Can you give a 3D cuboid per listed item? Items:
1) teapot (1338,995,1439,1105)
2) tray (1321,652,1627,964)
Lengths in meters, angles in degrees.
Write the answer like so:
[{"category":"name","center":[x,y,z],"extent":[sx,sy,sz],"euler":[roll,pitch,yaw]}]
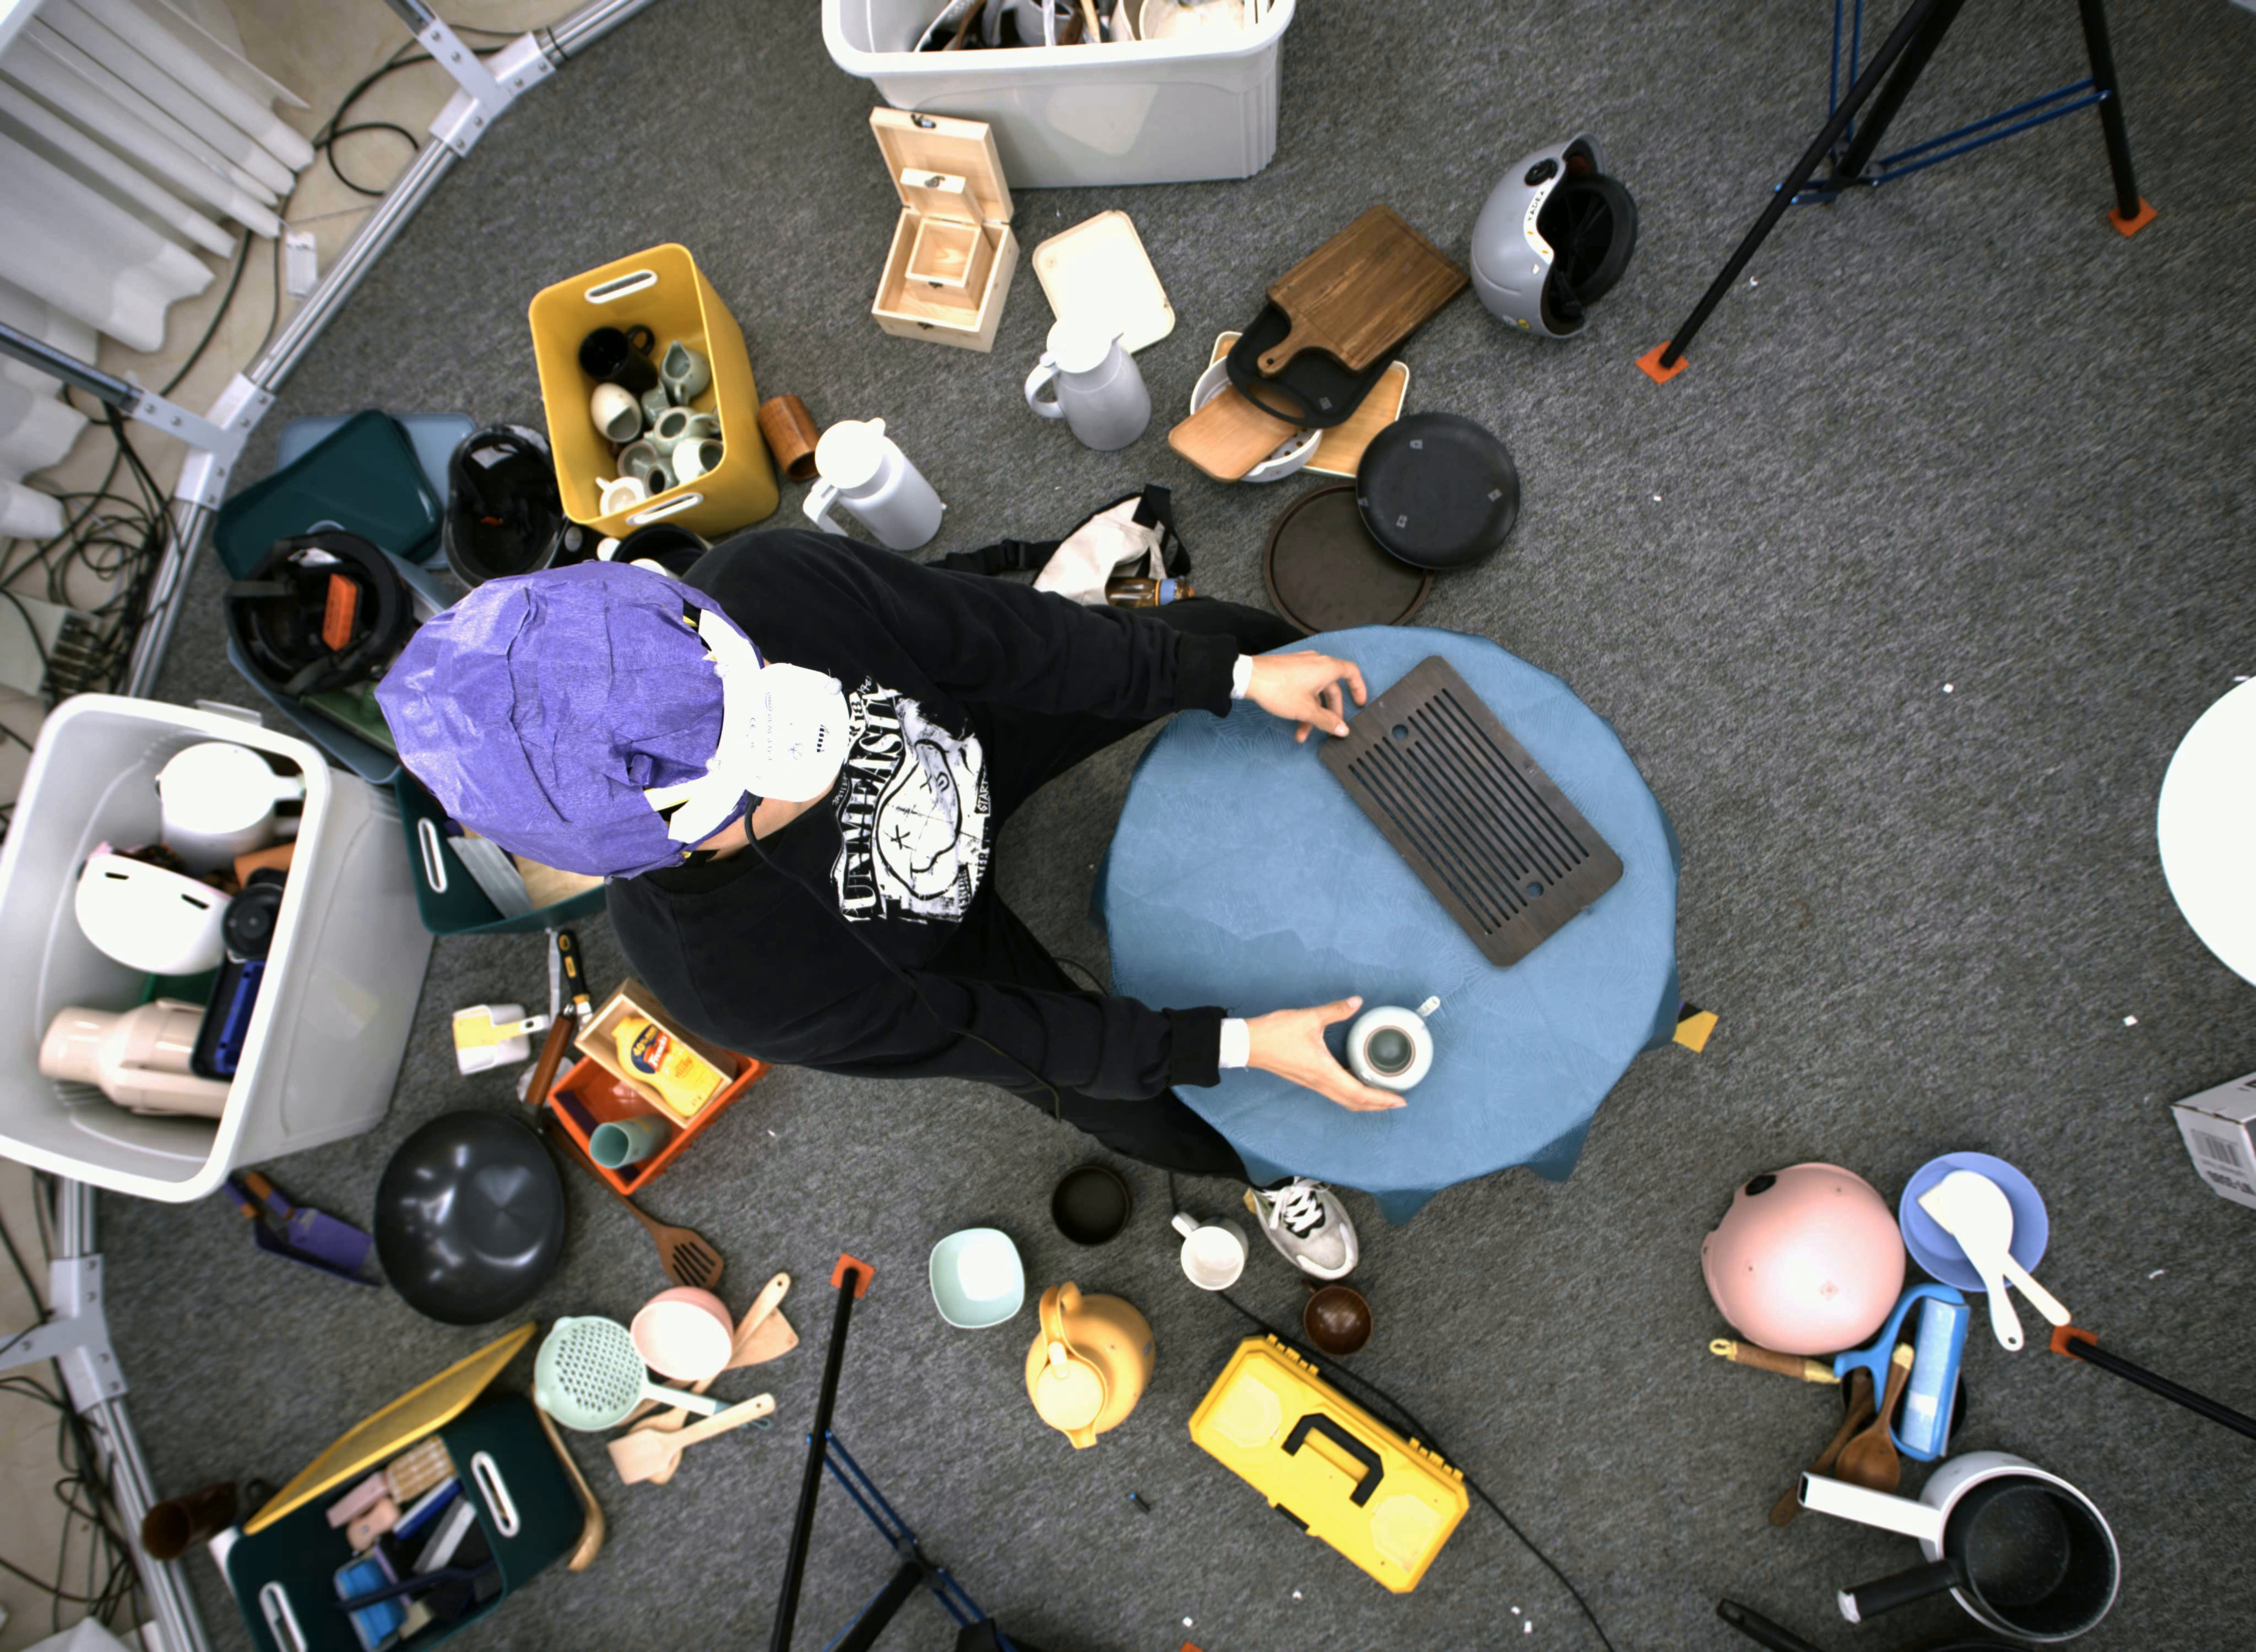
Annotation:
[{"category":"teapot","center":[0.266,0.226,1.417],"extent":[0.088,0.075,0.144],"euler":[44,93,10]},{"category":"tray","center":[0.359,-0.023,1.439],"extent":[0.171,0.018,0.304],"euler":[-40,81,7]}]
